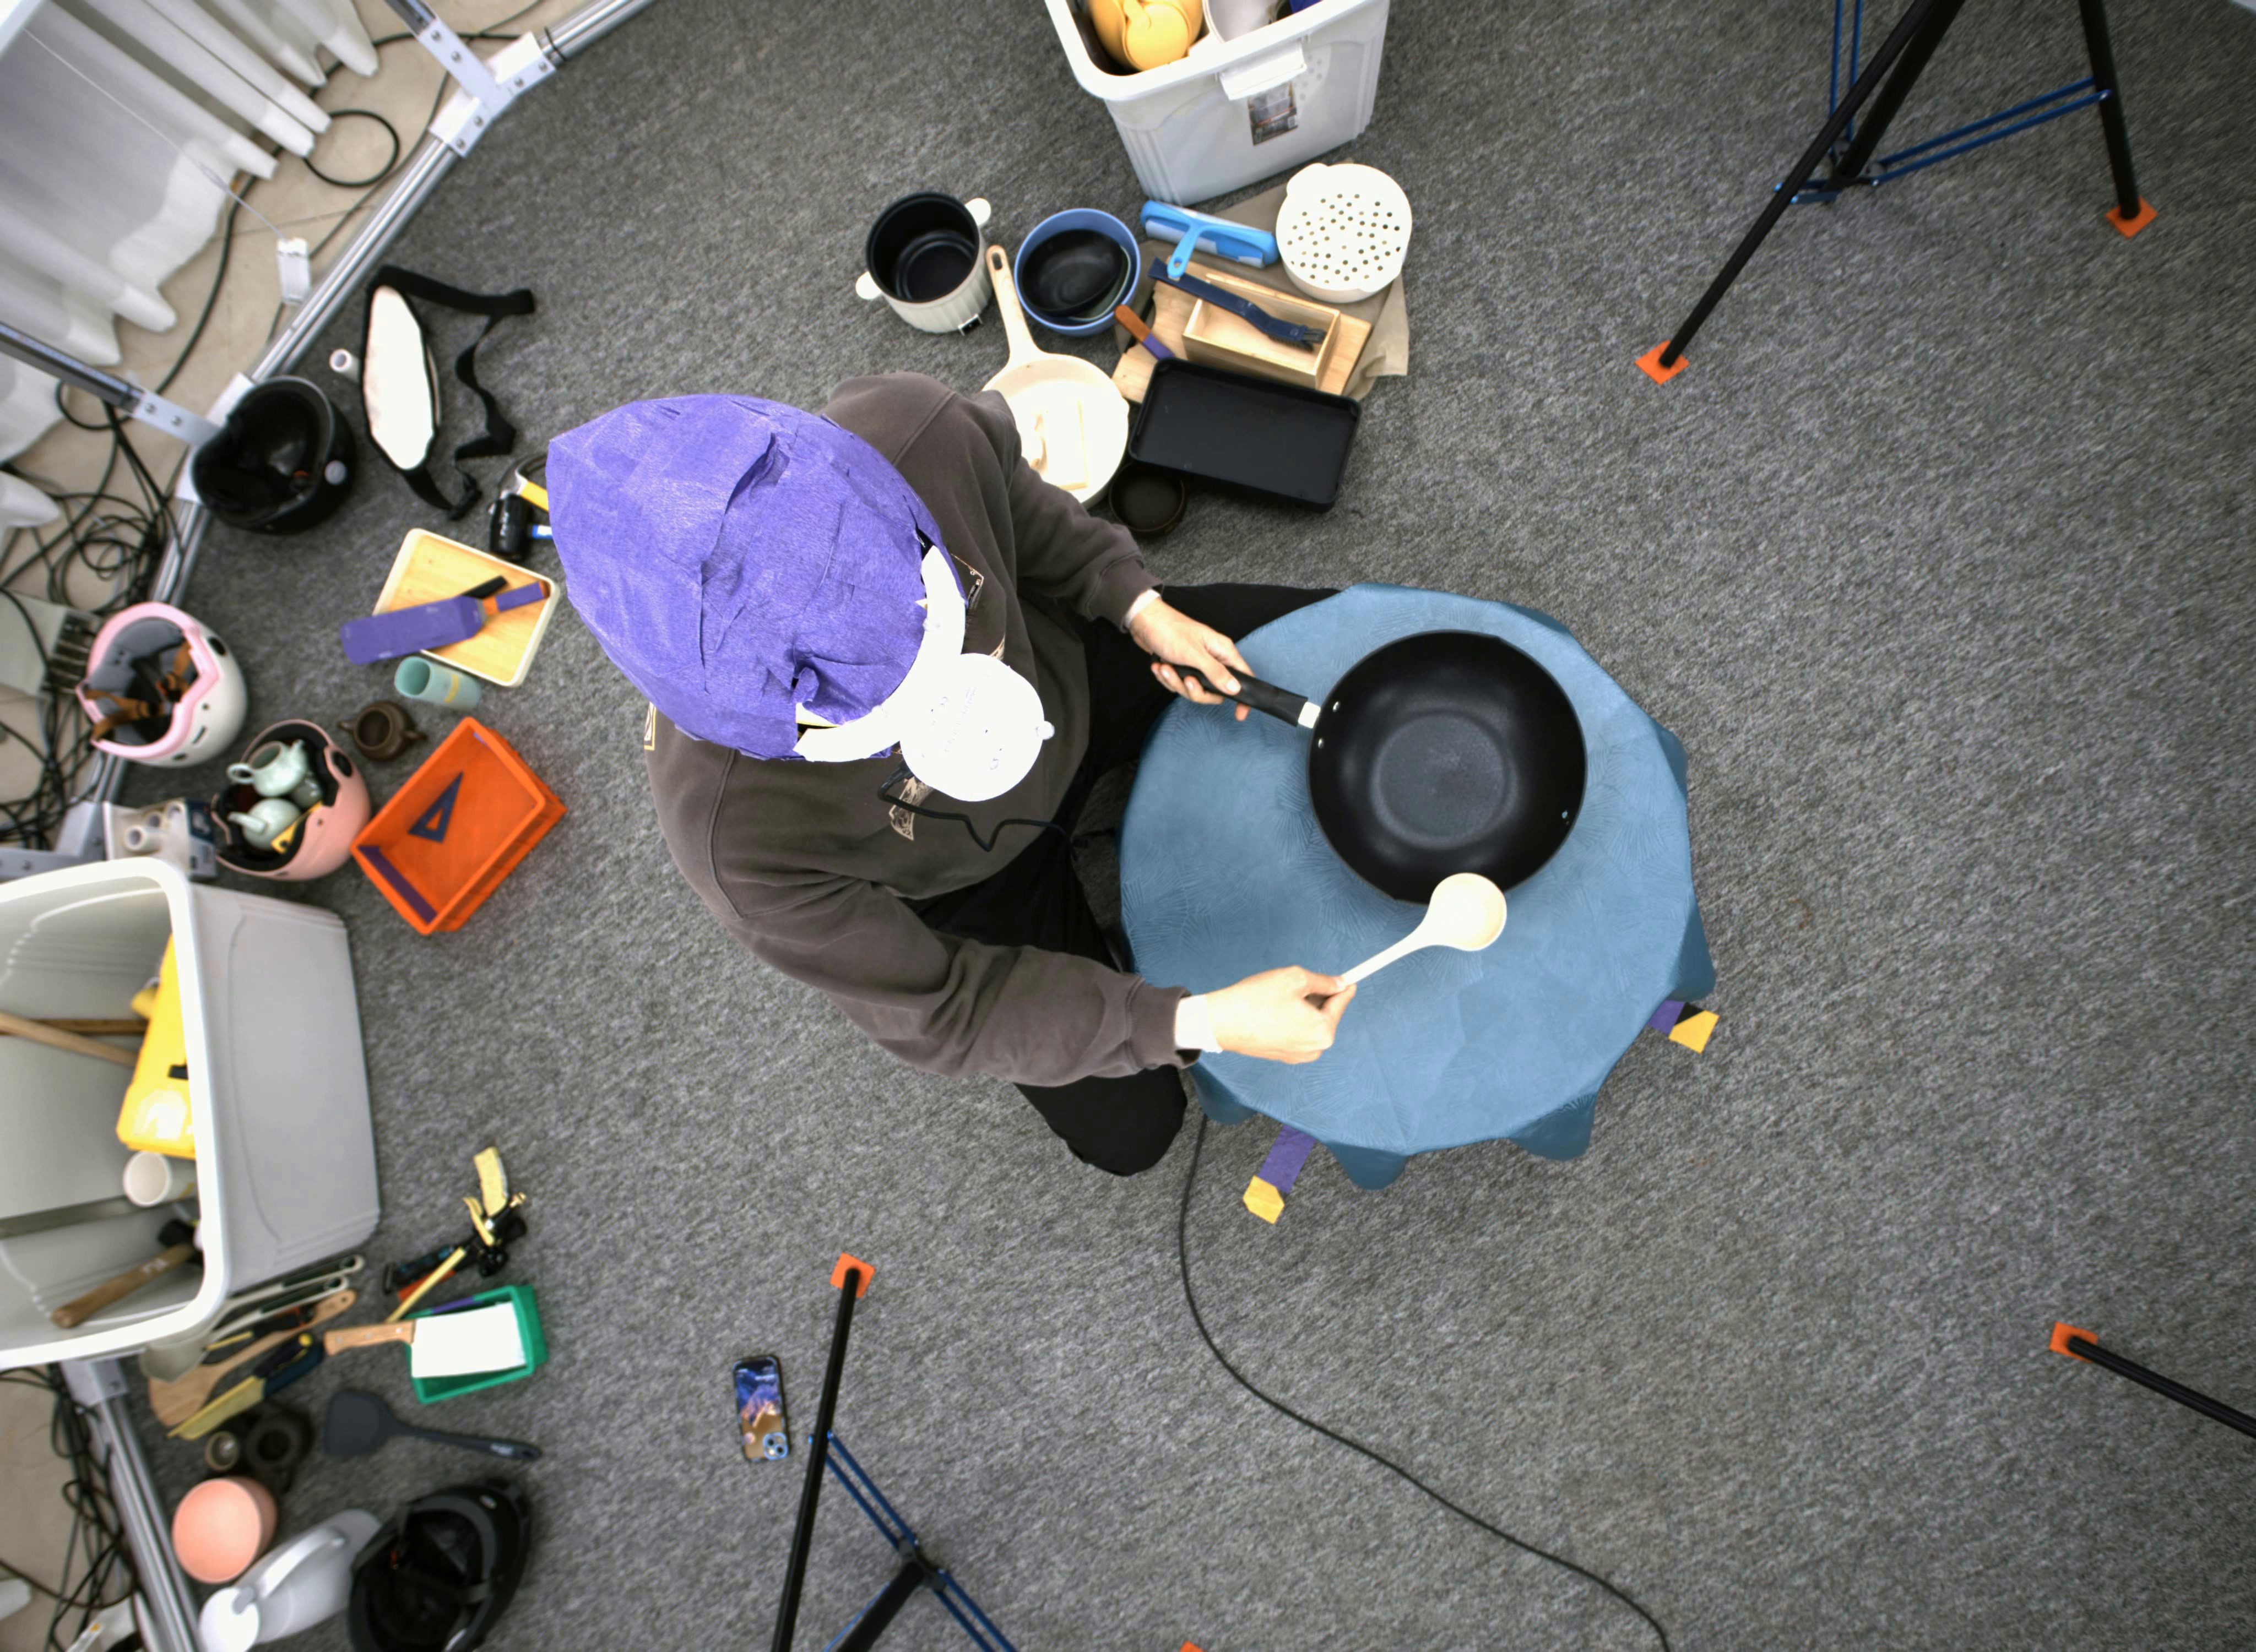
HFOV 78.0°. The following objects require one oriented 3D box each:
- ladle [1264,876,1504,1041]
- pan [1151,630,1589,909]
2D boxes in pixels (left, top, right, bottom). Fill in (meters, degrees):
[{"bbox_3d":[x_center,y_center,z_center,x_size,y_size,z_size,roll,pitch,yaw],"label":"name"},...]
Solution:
[{"bbox_3d":[0.233,0.120,1.236,0.251,0.074,0.072,-28,85,-25],"label":"ladle"},{"bbox_3d":[0.240,-0.090,1.428,0.463,0.087,0.288,22,92,12],"label":"pan"}]
